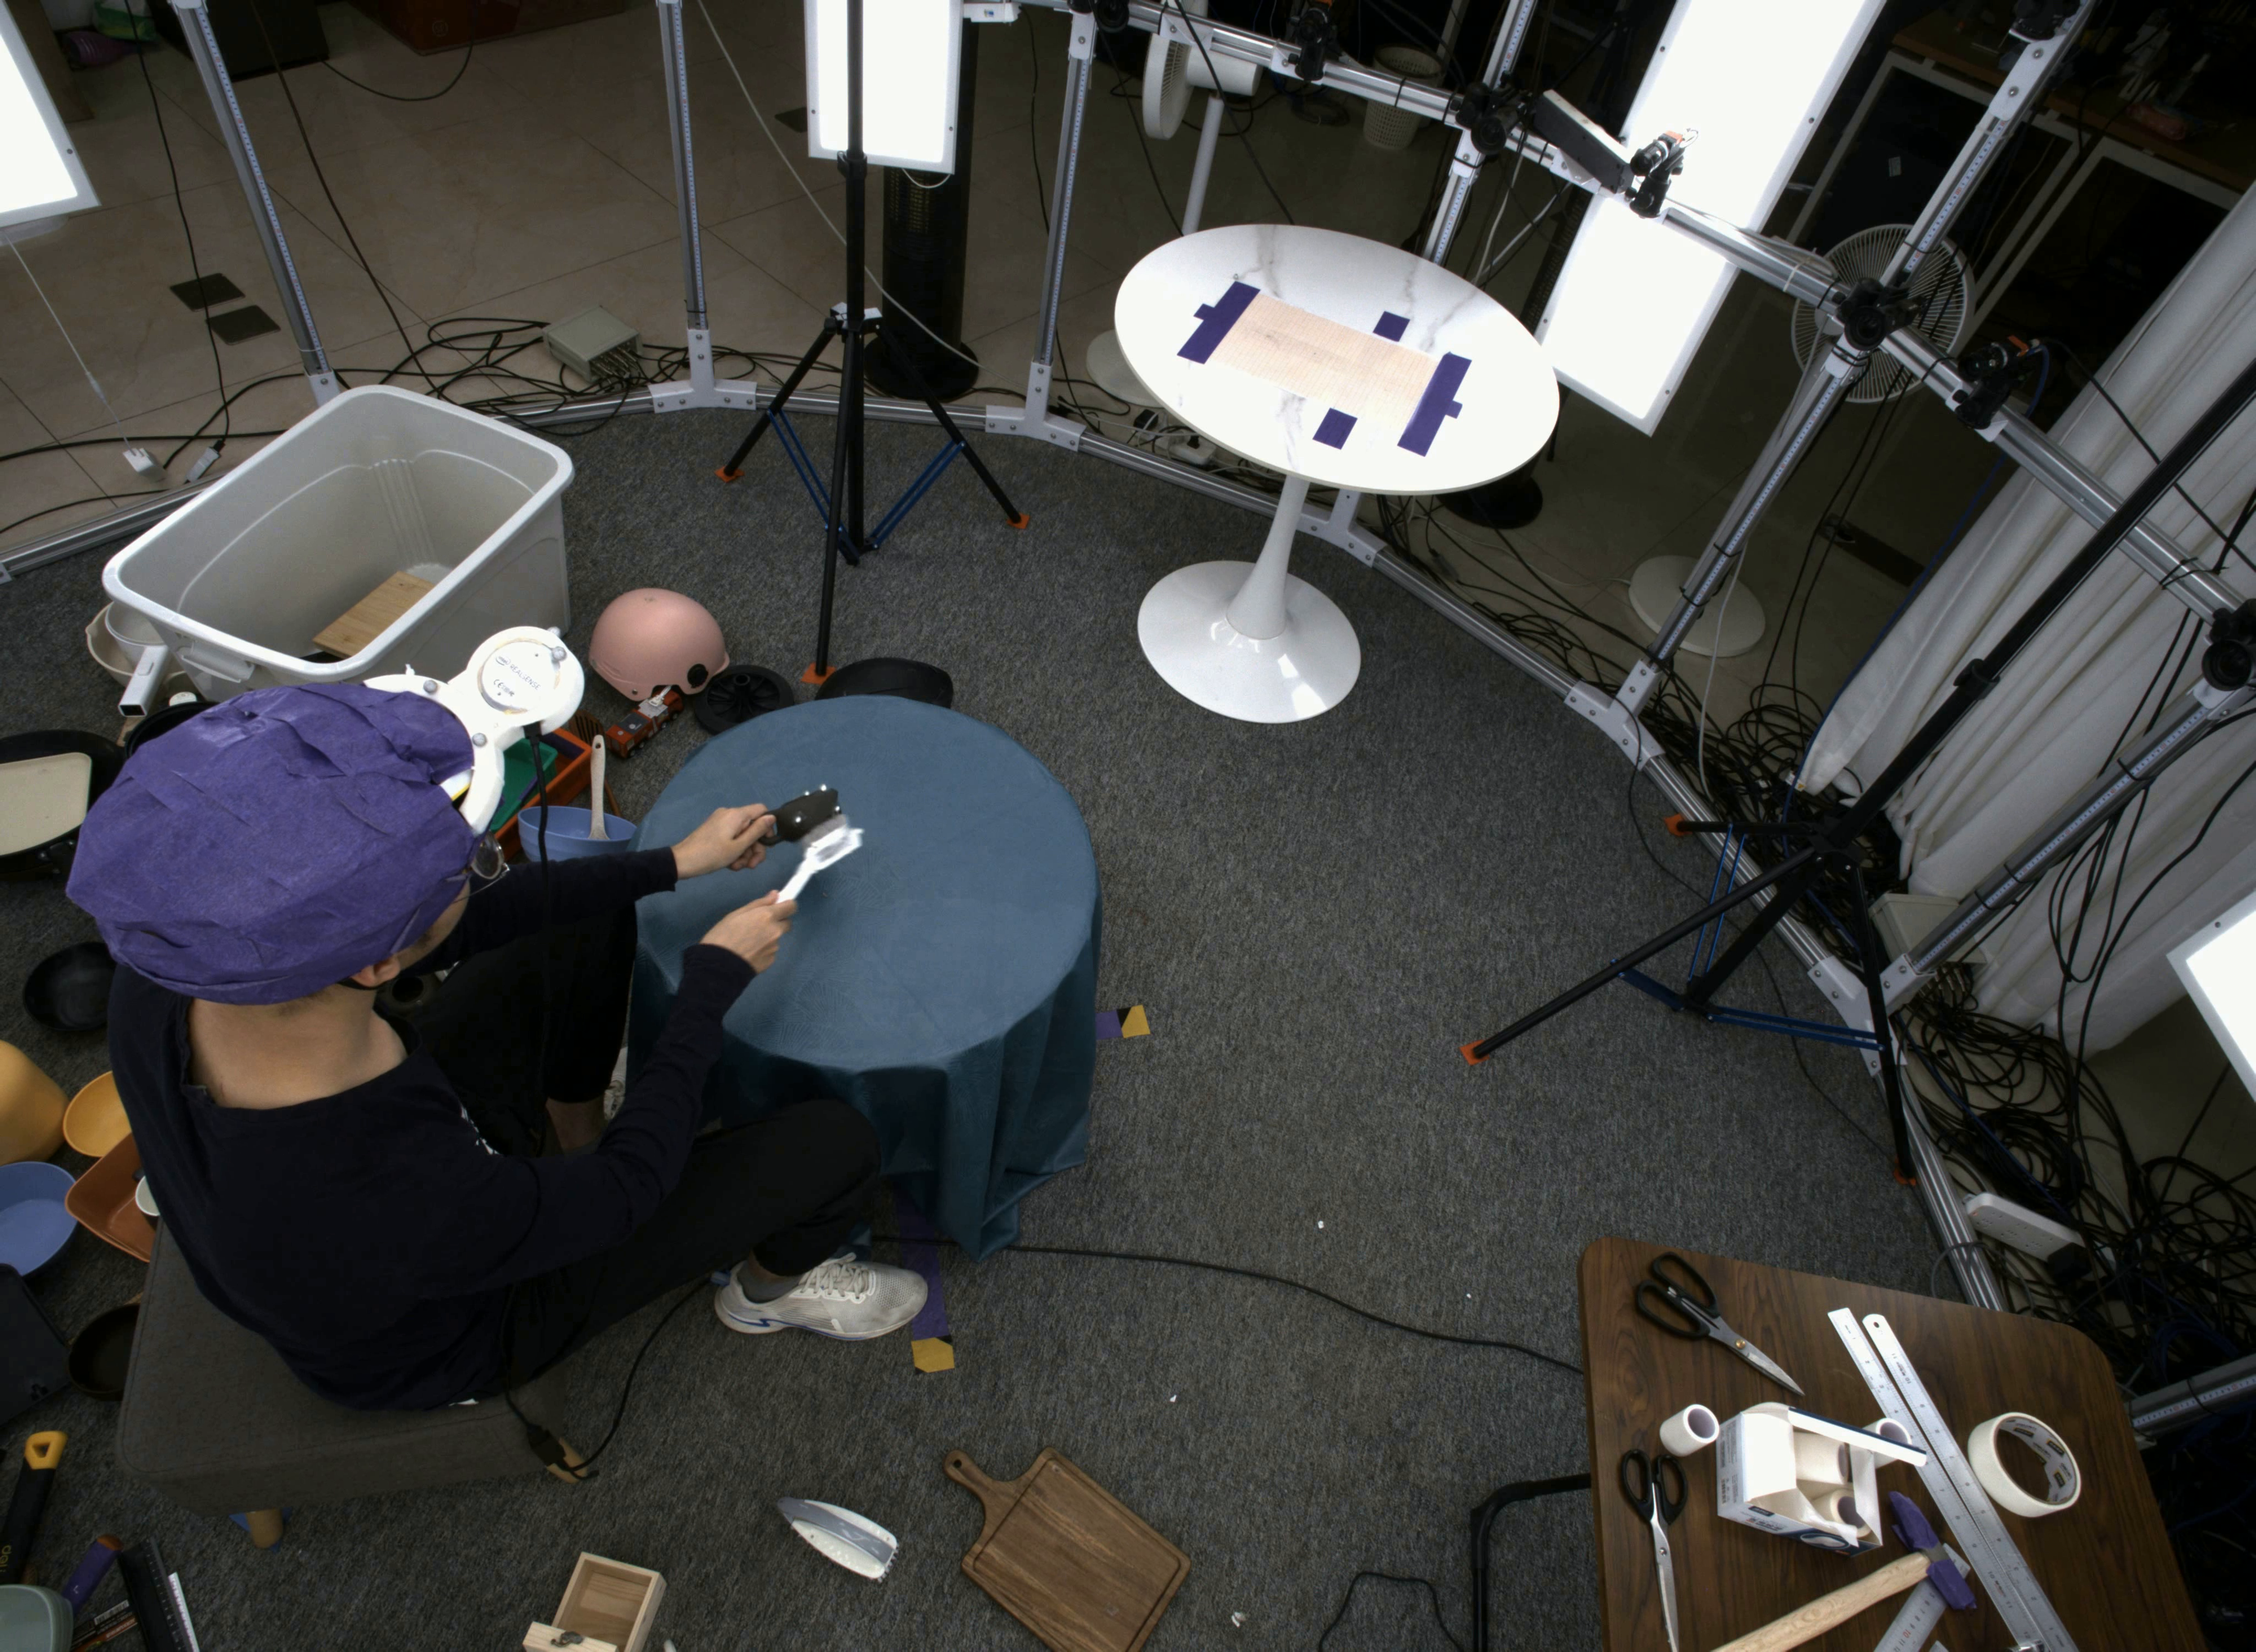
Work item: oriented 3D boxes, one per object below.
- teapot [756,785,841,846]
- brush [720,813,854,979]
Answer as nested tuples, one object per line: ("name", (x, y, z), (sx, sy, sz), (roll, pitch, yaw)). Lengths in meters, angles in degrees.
("teapot", (-0.410, -0.011, 1.613), (0.114, 0.081, 0.054), (-24, 100, -26))
("brush", (-0.414, 0.078, 1.539), (0.048, 0.035, 0.243), (21, 58, 27))
